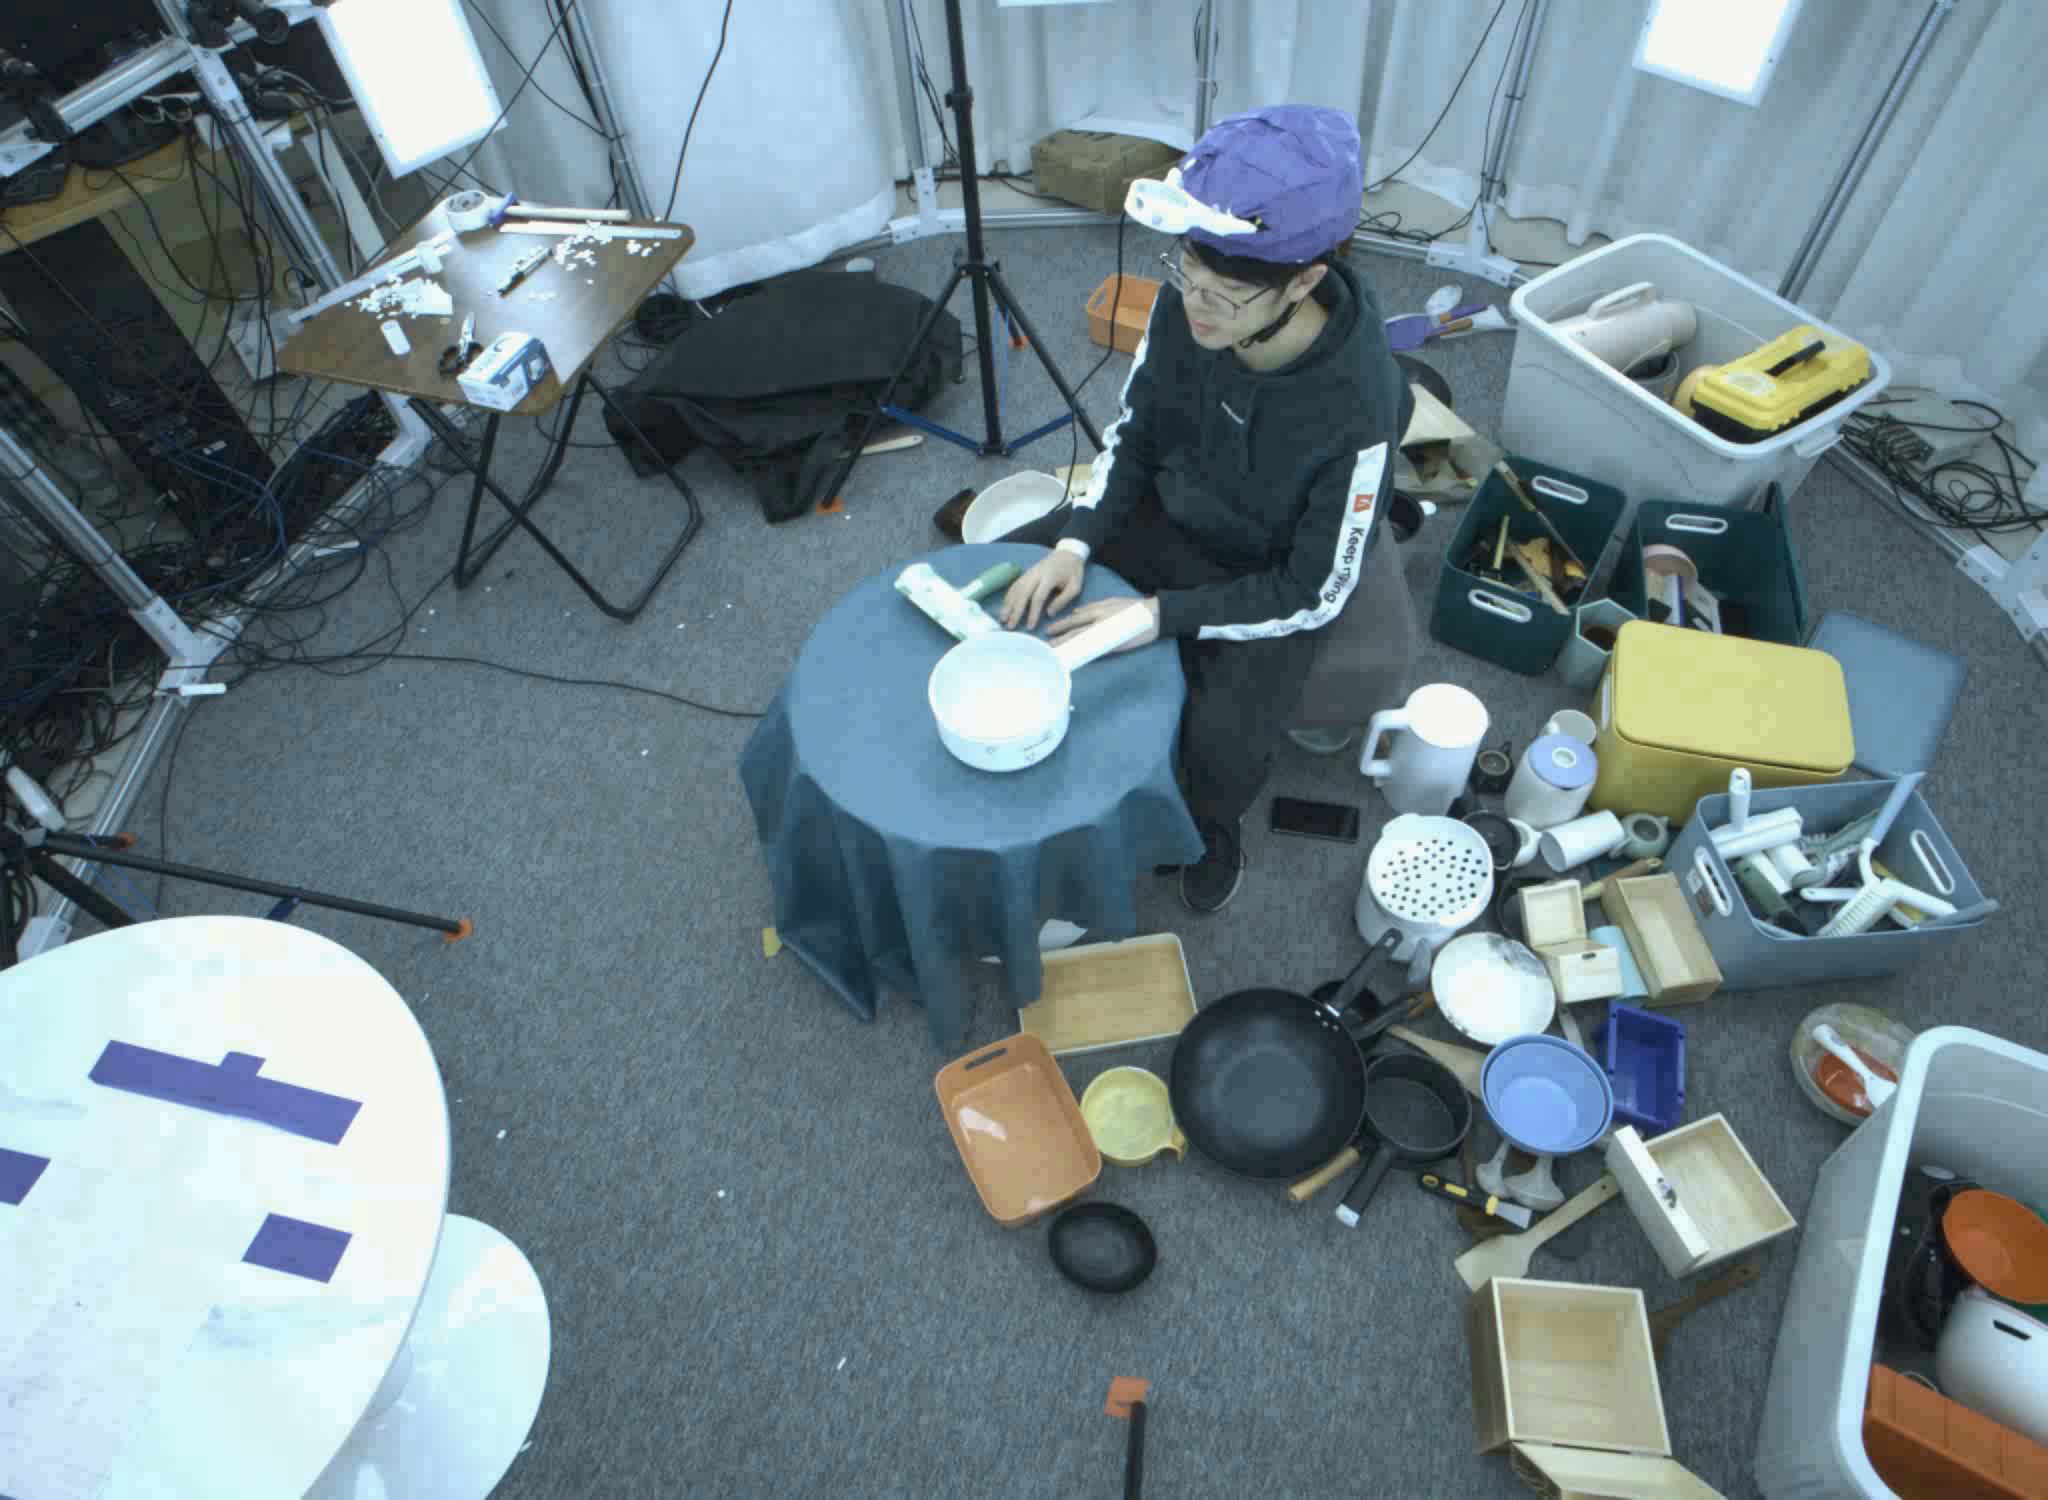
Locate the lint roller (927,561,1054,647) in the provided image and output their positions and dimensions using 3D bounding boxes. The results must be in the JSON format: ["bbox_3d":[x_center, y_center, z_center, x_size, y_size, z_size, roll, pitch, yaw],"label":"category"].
[{"bbox_3d":[-0.028,-0.260,1.921,0.184,0.083,0.195,-39,61,-16],"label":"lint roller"}]

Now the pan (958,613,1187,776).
[{"bbox_3d":[0.077,-0.091,1.786,0.358,0.103,0.197,-26,56,-17],"label":"pan"}]
